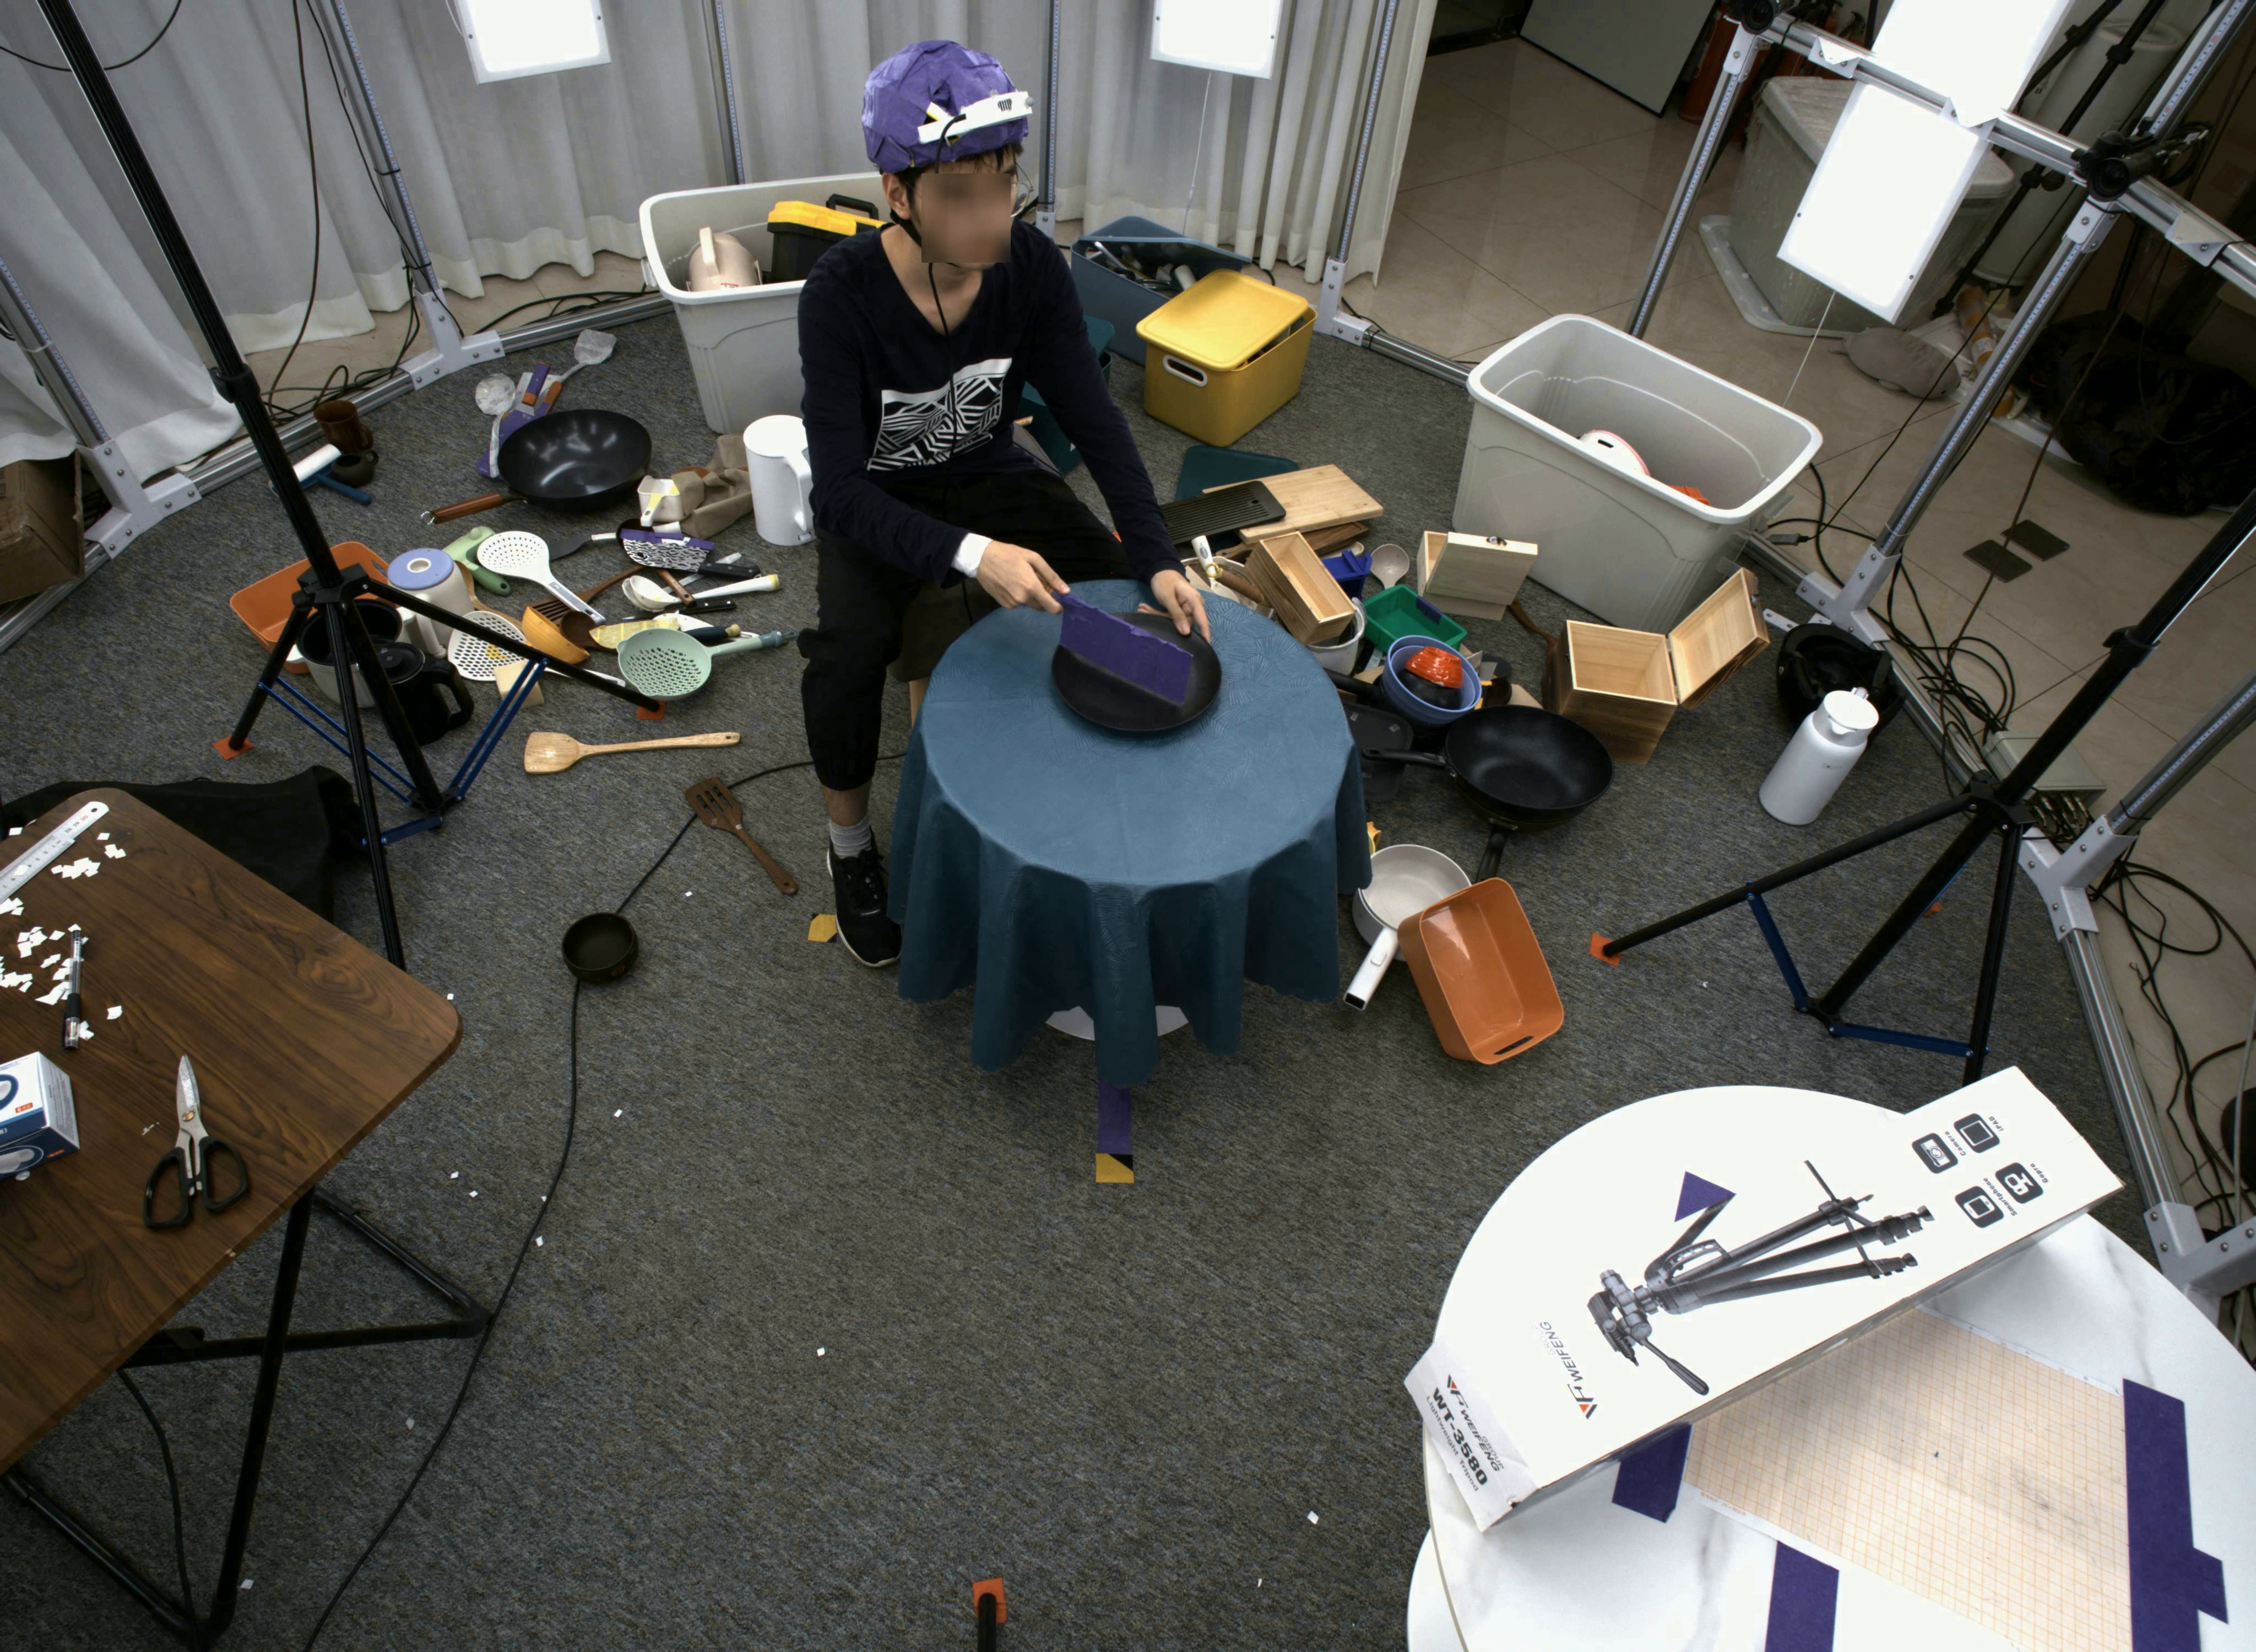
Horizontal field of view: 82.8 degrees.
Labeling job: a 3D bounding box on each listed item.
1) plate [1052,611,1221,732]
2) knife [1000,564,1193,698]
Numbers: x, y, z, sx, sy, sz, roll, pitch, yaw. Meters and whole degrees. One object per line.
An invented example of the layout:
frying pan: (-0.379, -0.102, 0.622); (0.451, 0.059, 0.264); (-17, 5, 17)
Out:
plate: (0.011, -0.220, 1.842); (0.244, 0.023, 0.250); (2, 50, -2)
knife: (-0.049, -0.271, 1.814); (0.318, 0.101, 0.032); (29, 46, 20)
